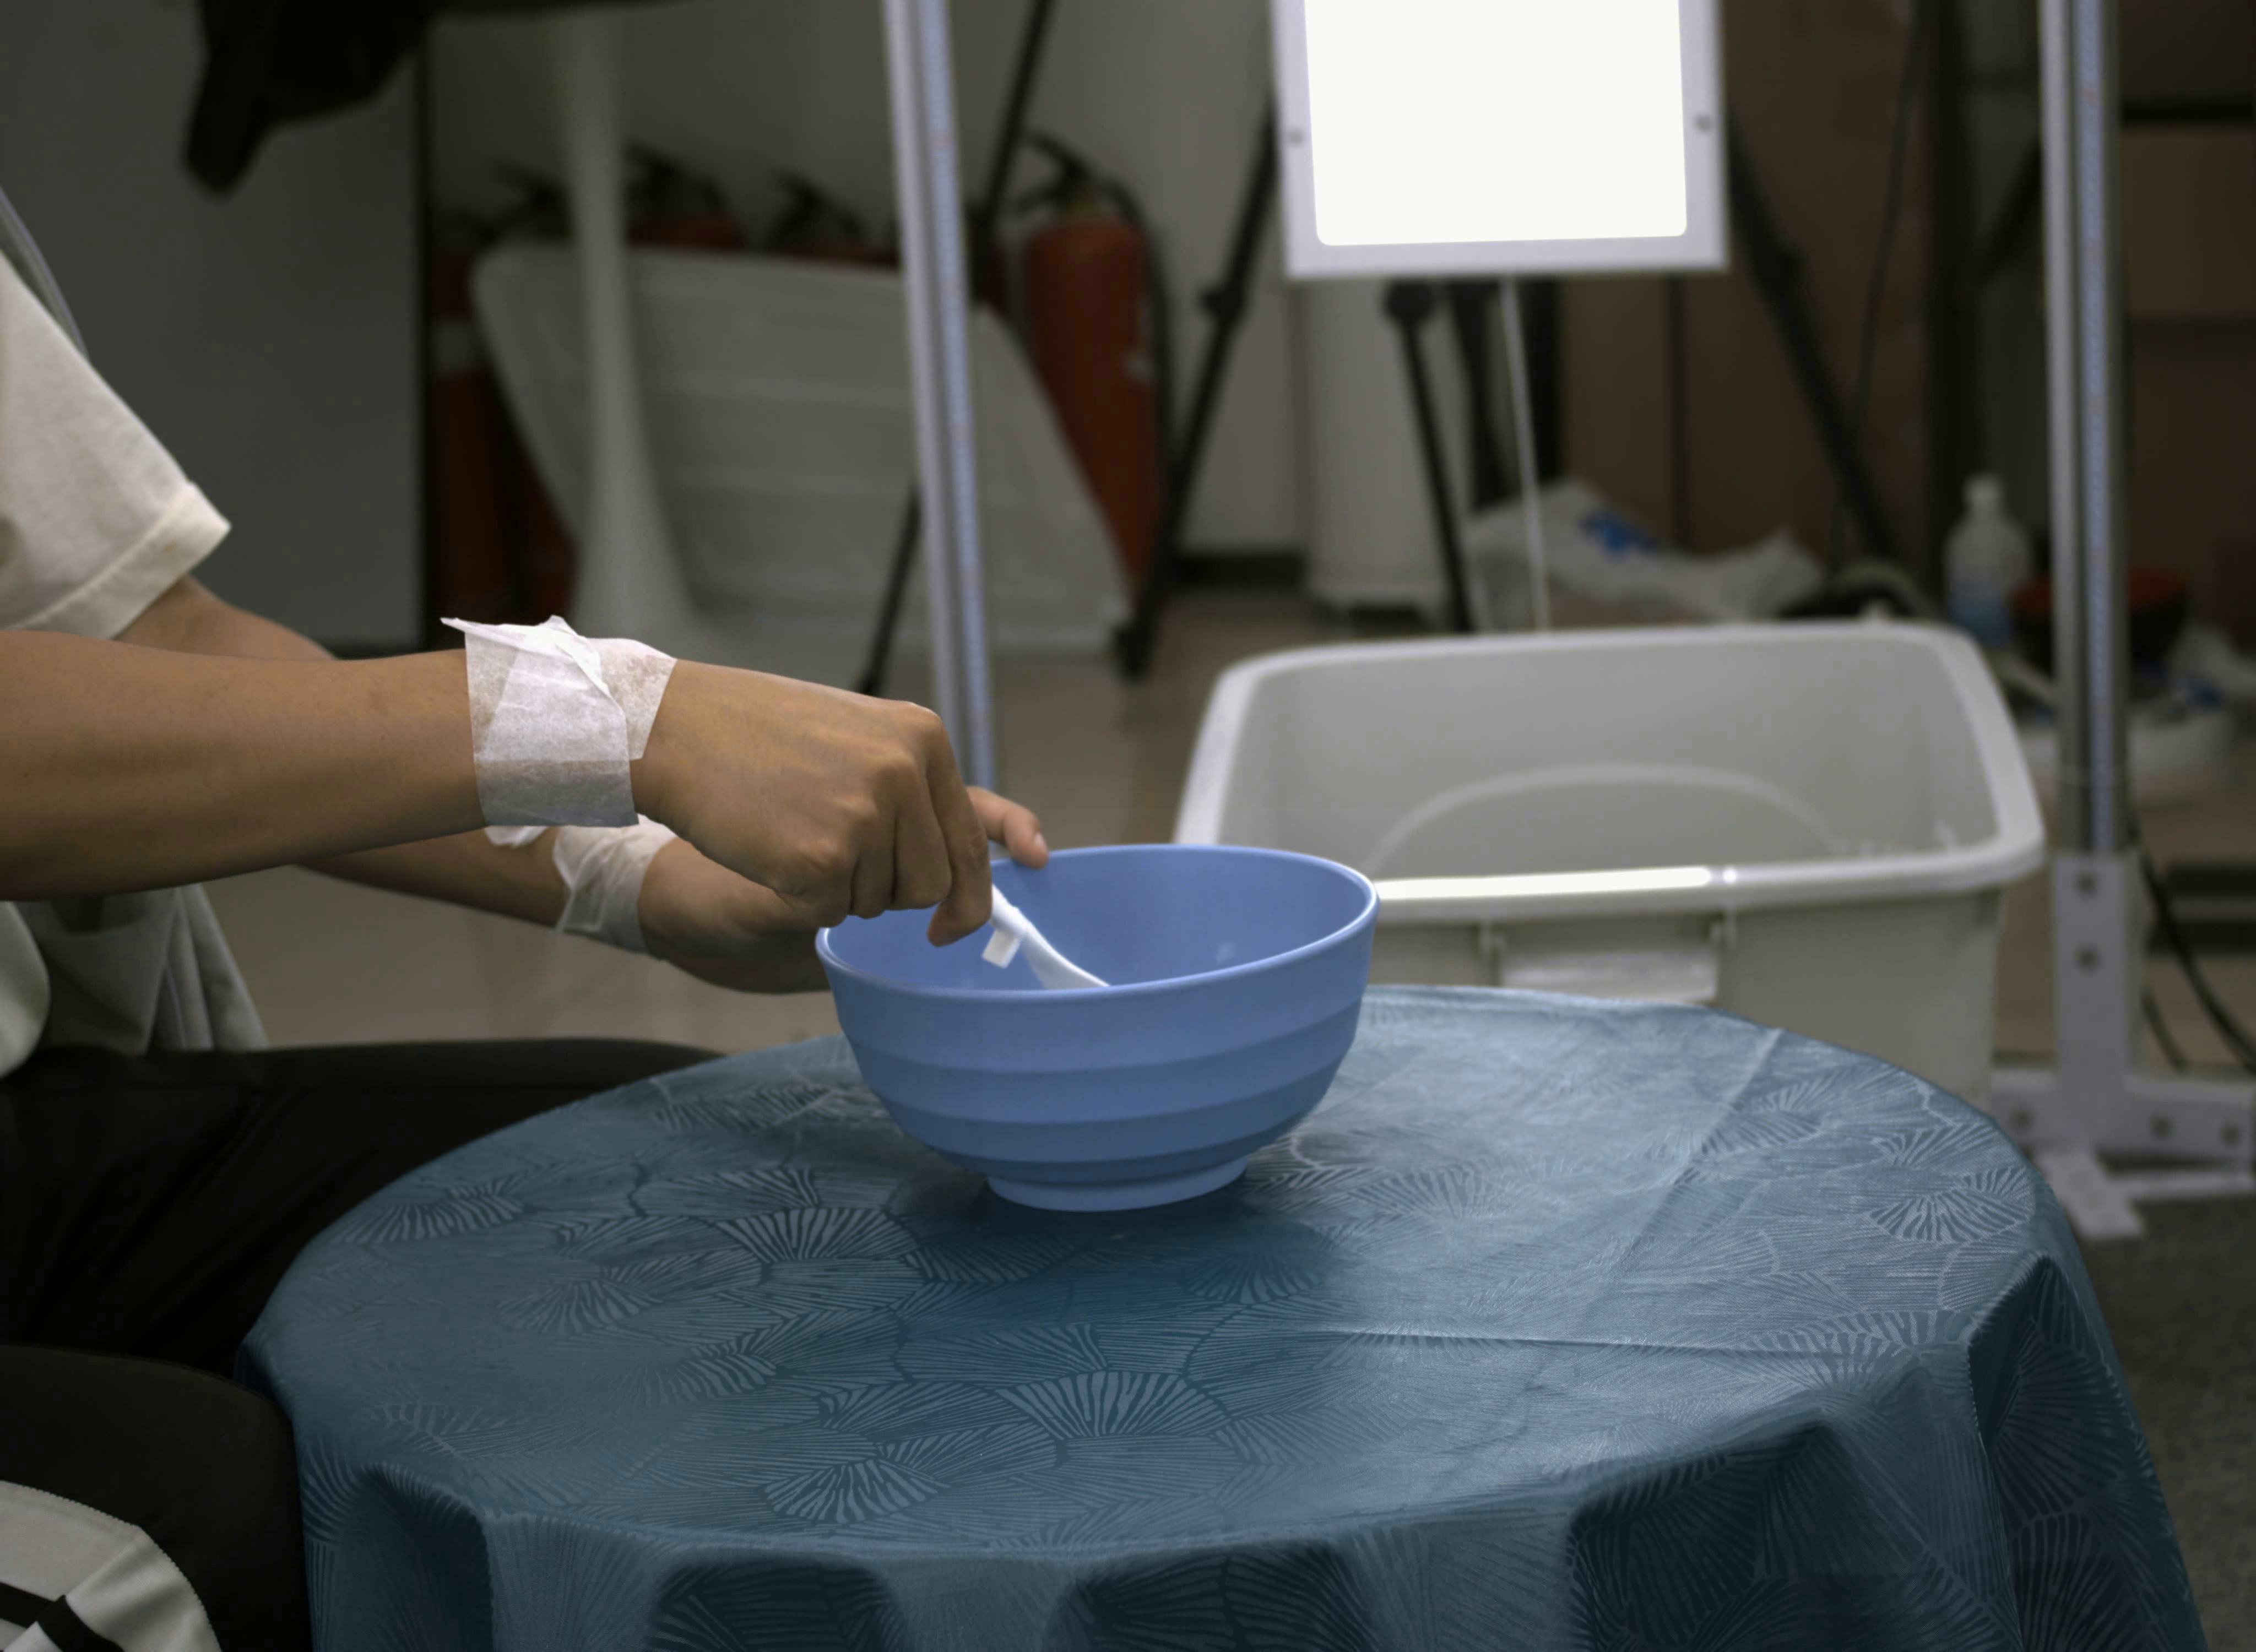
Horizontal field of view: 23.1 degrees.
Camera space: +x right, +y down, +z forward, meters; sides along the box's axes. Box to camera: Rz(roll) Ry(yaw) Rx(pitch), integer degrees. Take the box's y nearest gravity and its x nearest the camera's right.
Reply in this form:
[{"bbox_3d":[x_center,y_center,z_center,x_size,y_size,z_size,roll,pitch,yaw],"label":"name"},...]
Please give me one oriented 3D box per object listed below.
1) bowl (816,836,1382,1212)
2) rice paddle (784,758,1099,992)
[{"bbox_3d":[-0.008,0.075,1.911,0.196,0.096,0.196,-4,15,0],"label":"bowl"},{"bbox_3d":[-0.038,0.037,1.882,0.202,0.029,0.070,36,-6,-37],"label":"rice paddle"}]
